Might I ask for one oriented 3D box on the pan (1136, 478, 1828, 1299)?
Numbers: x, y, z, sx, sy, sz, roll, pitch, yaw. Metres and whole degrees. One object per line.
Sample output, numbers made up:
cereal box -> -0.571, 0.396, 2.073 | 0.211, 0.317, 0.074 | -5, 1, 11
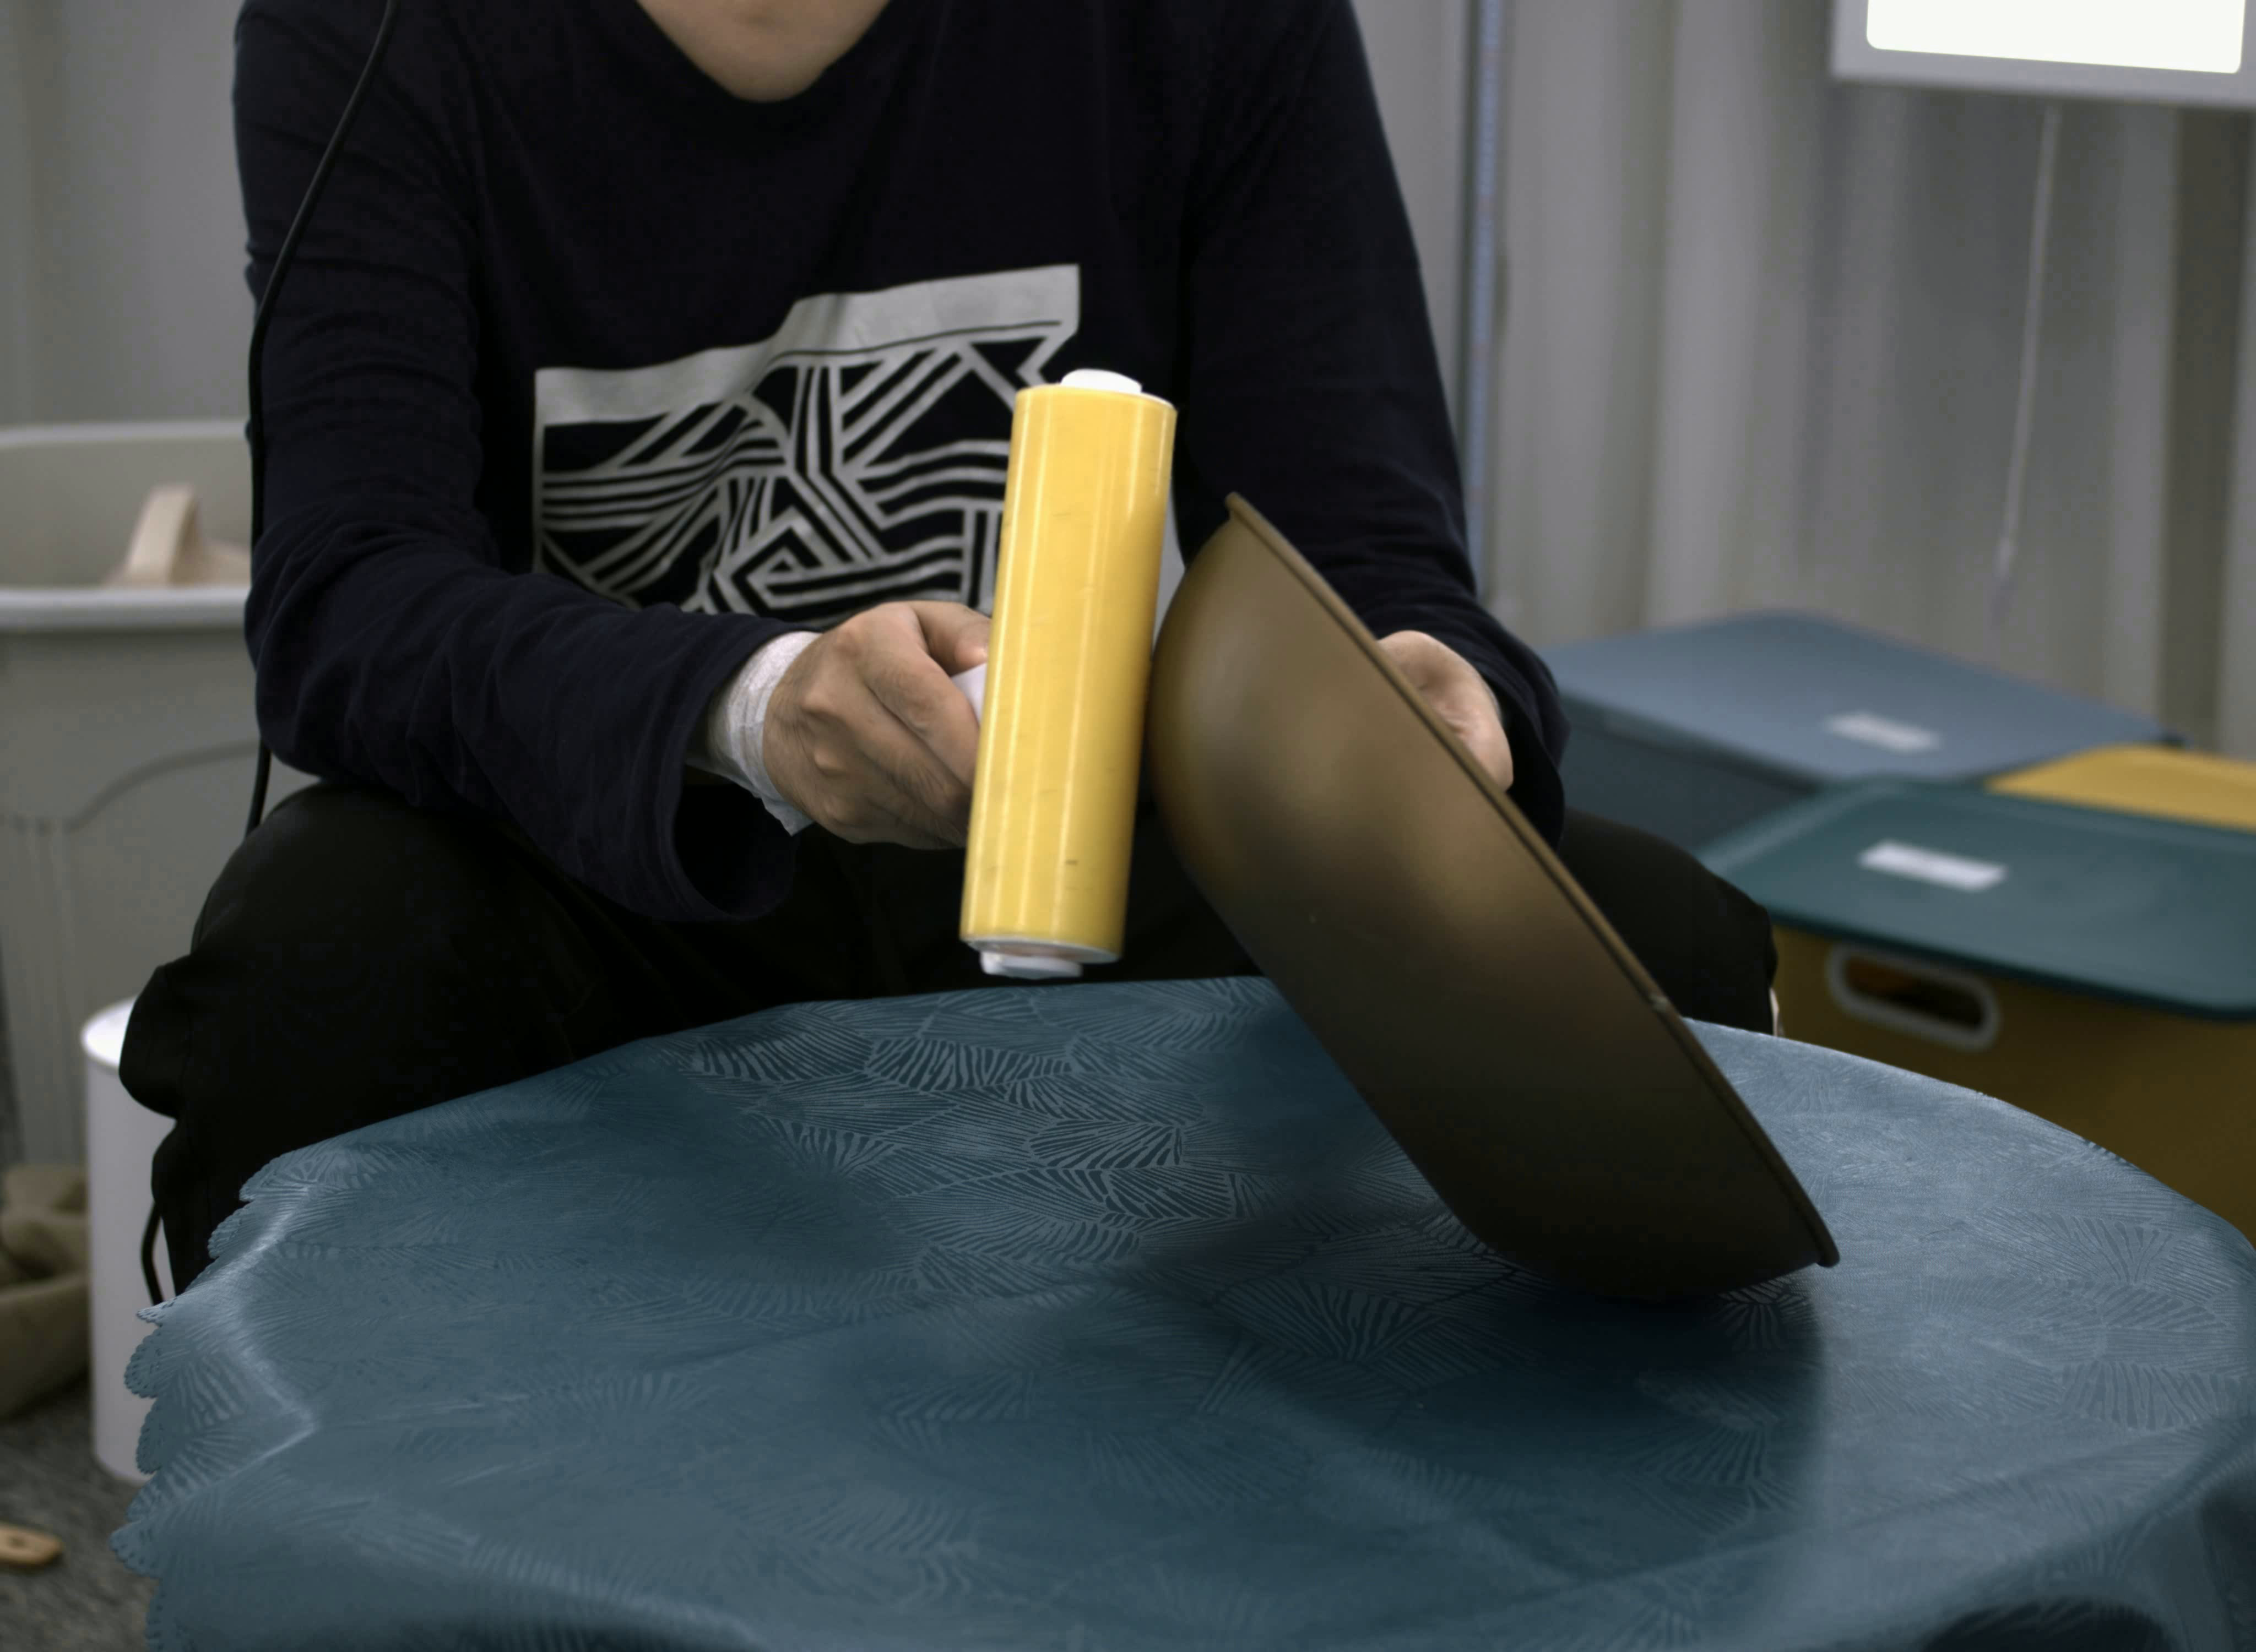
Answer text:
pan -> 0.074, 0.018, 1.608 | 0.087, 0.290, 0.460 | -38, 14, 1

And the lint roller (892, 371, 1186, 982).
lint roller -> -0.046, -0.036, 1.561 | 0.052, 0.174, 0.191 | 11, -10, -25
